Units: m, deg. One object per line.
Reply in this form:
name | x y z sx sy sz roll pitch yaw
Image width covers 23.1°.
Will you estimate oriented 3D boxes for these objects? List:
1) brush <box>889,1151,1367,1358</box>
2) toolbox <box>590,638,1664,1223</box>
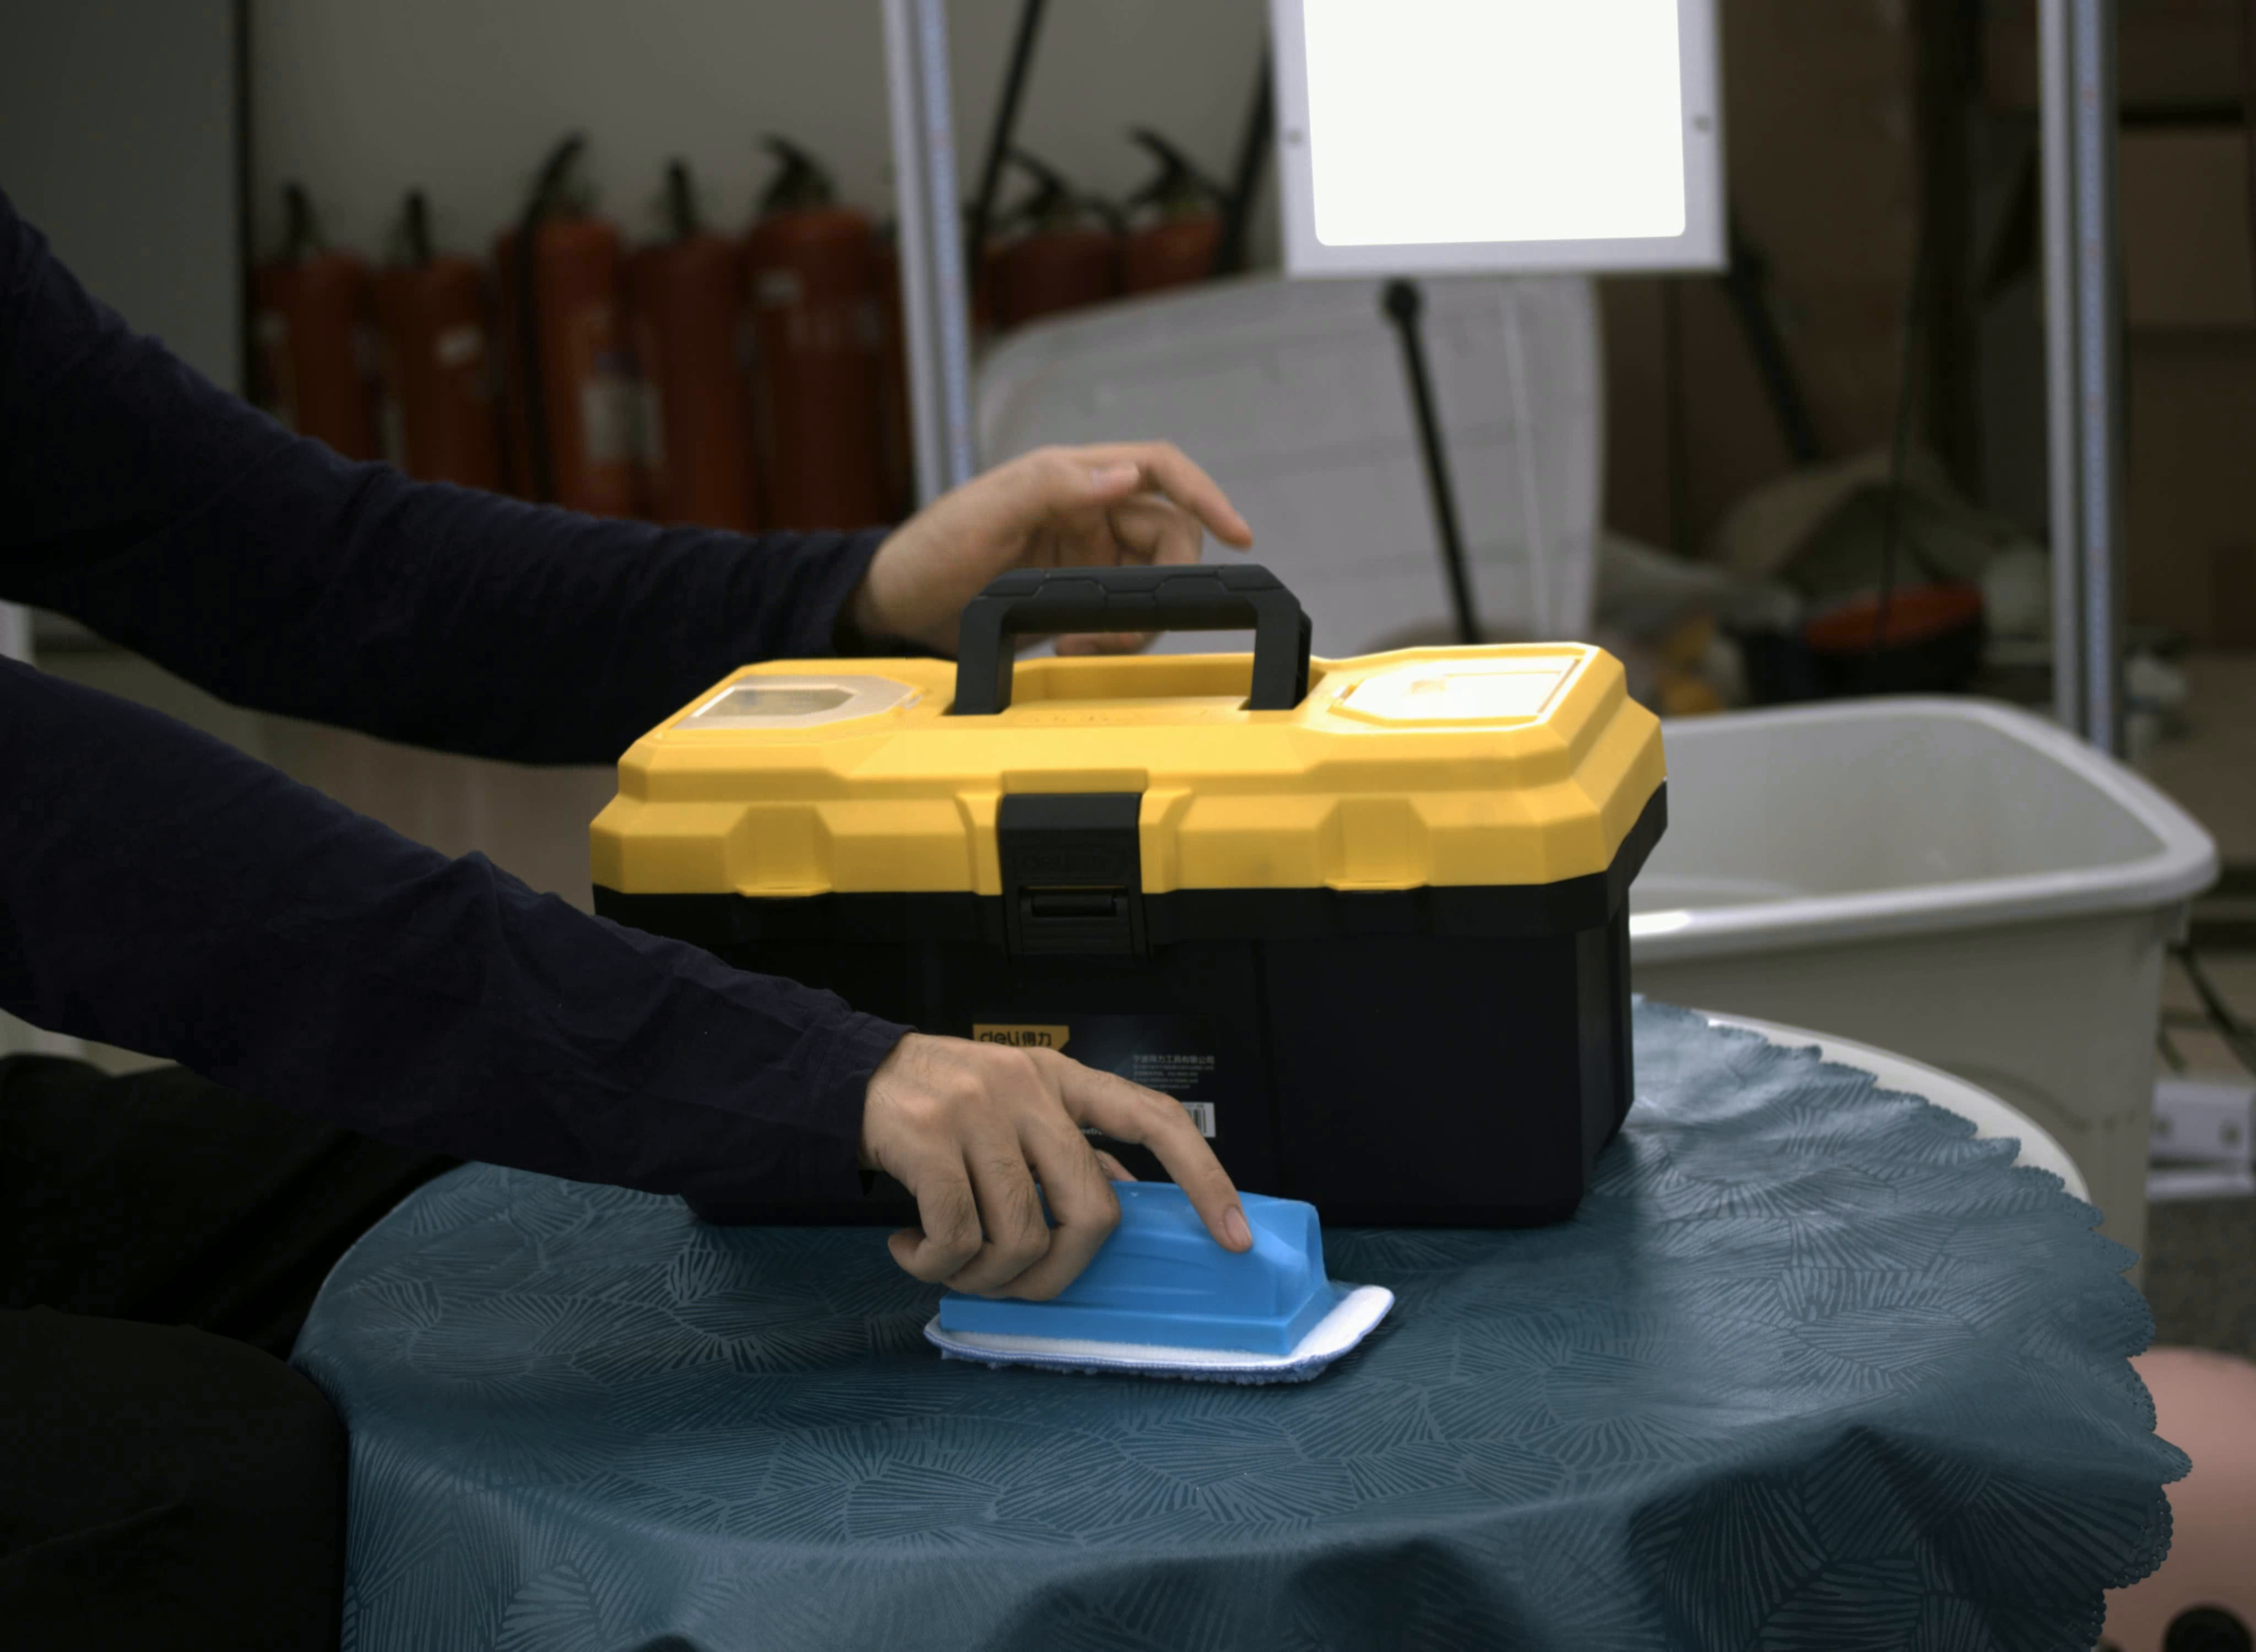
brush | 0.000 0.134 1.737 0.146 0.056 0.082 5 14 27
toolbox | 0.004 0.037 1.896 0.355 0.173 0.178 -1 14 17
